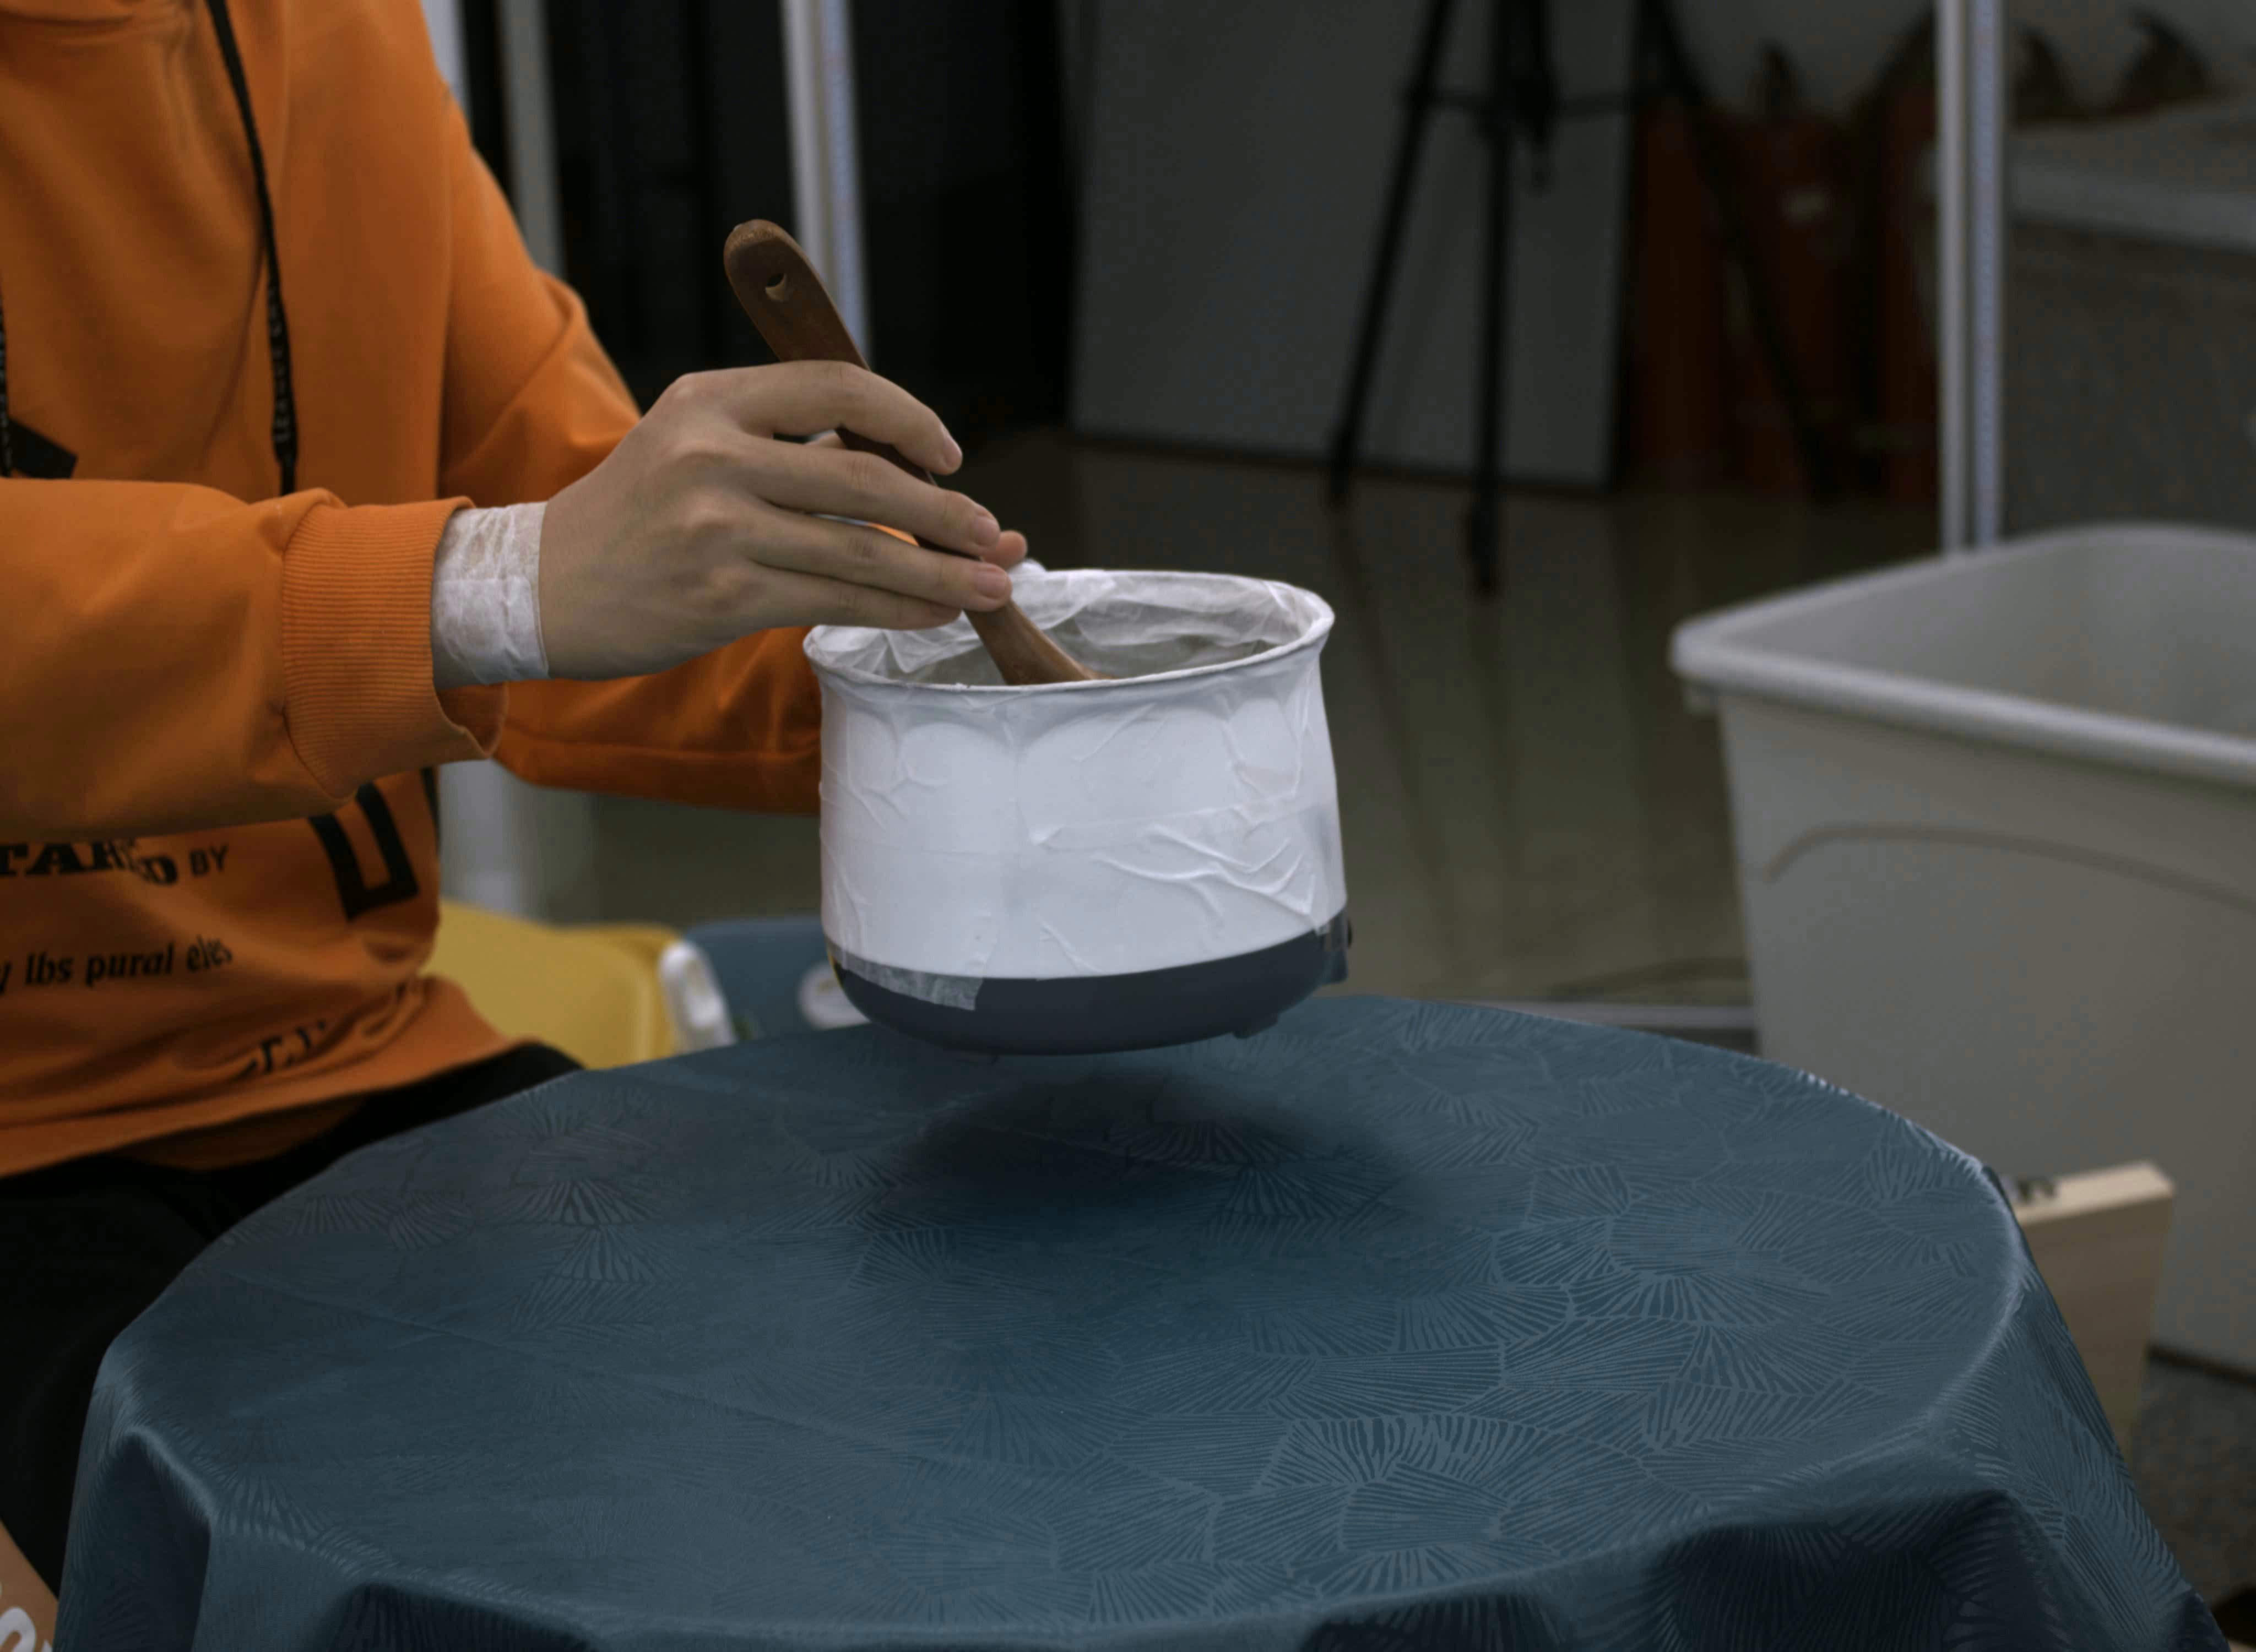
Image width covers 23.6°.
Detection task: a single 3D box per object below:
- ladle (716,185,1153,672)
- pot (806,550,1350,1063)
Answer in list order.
[{"bbox_3d":[-0.061,-0.099,1.758,0.076,0.260,0.065,-35,17,-5],"label":"ladle"},{"bbox_3d":[-0.021,-0.012,1.817,0.175,0.138,0.235,-6,14,-10],"label":"pot"}]
